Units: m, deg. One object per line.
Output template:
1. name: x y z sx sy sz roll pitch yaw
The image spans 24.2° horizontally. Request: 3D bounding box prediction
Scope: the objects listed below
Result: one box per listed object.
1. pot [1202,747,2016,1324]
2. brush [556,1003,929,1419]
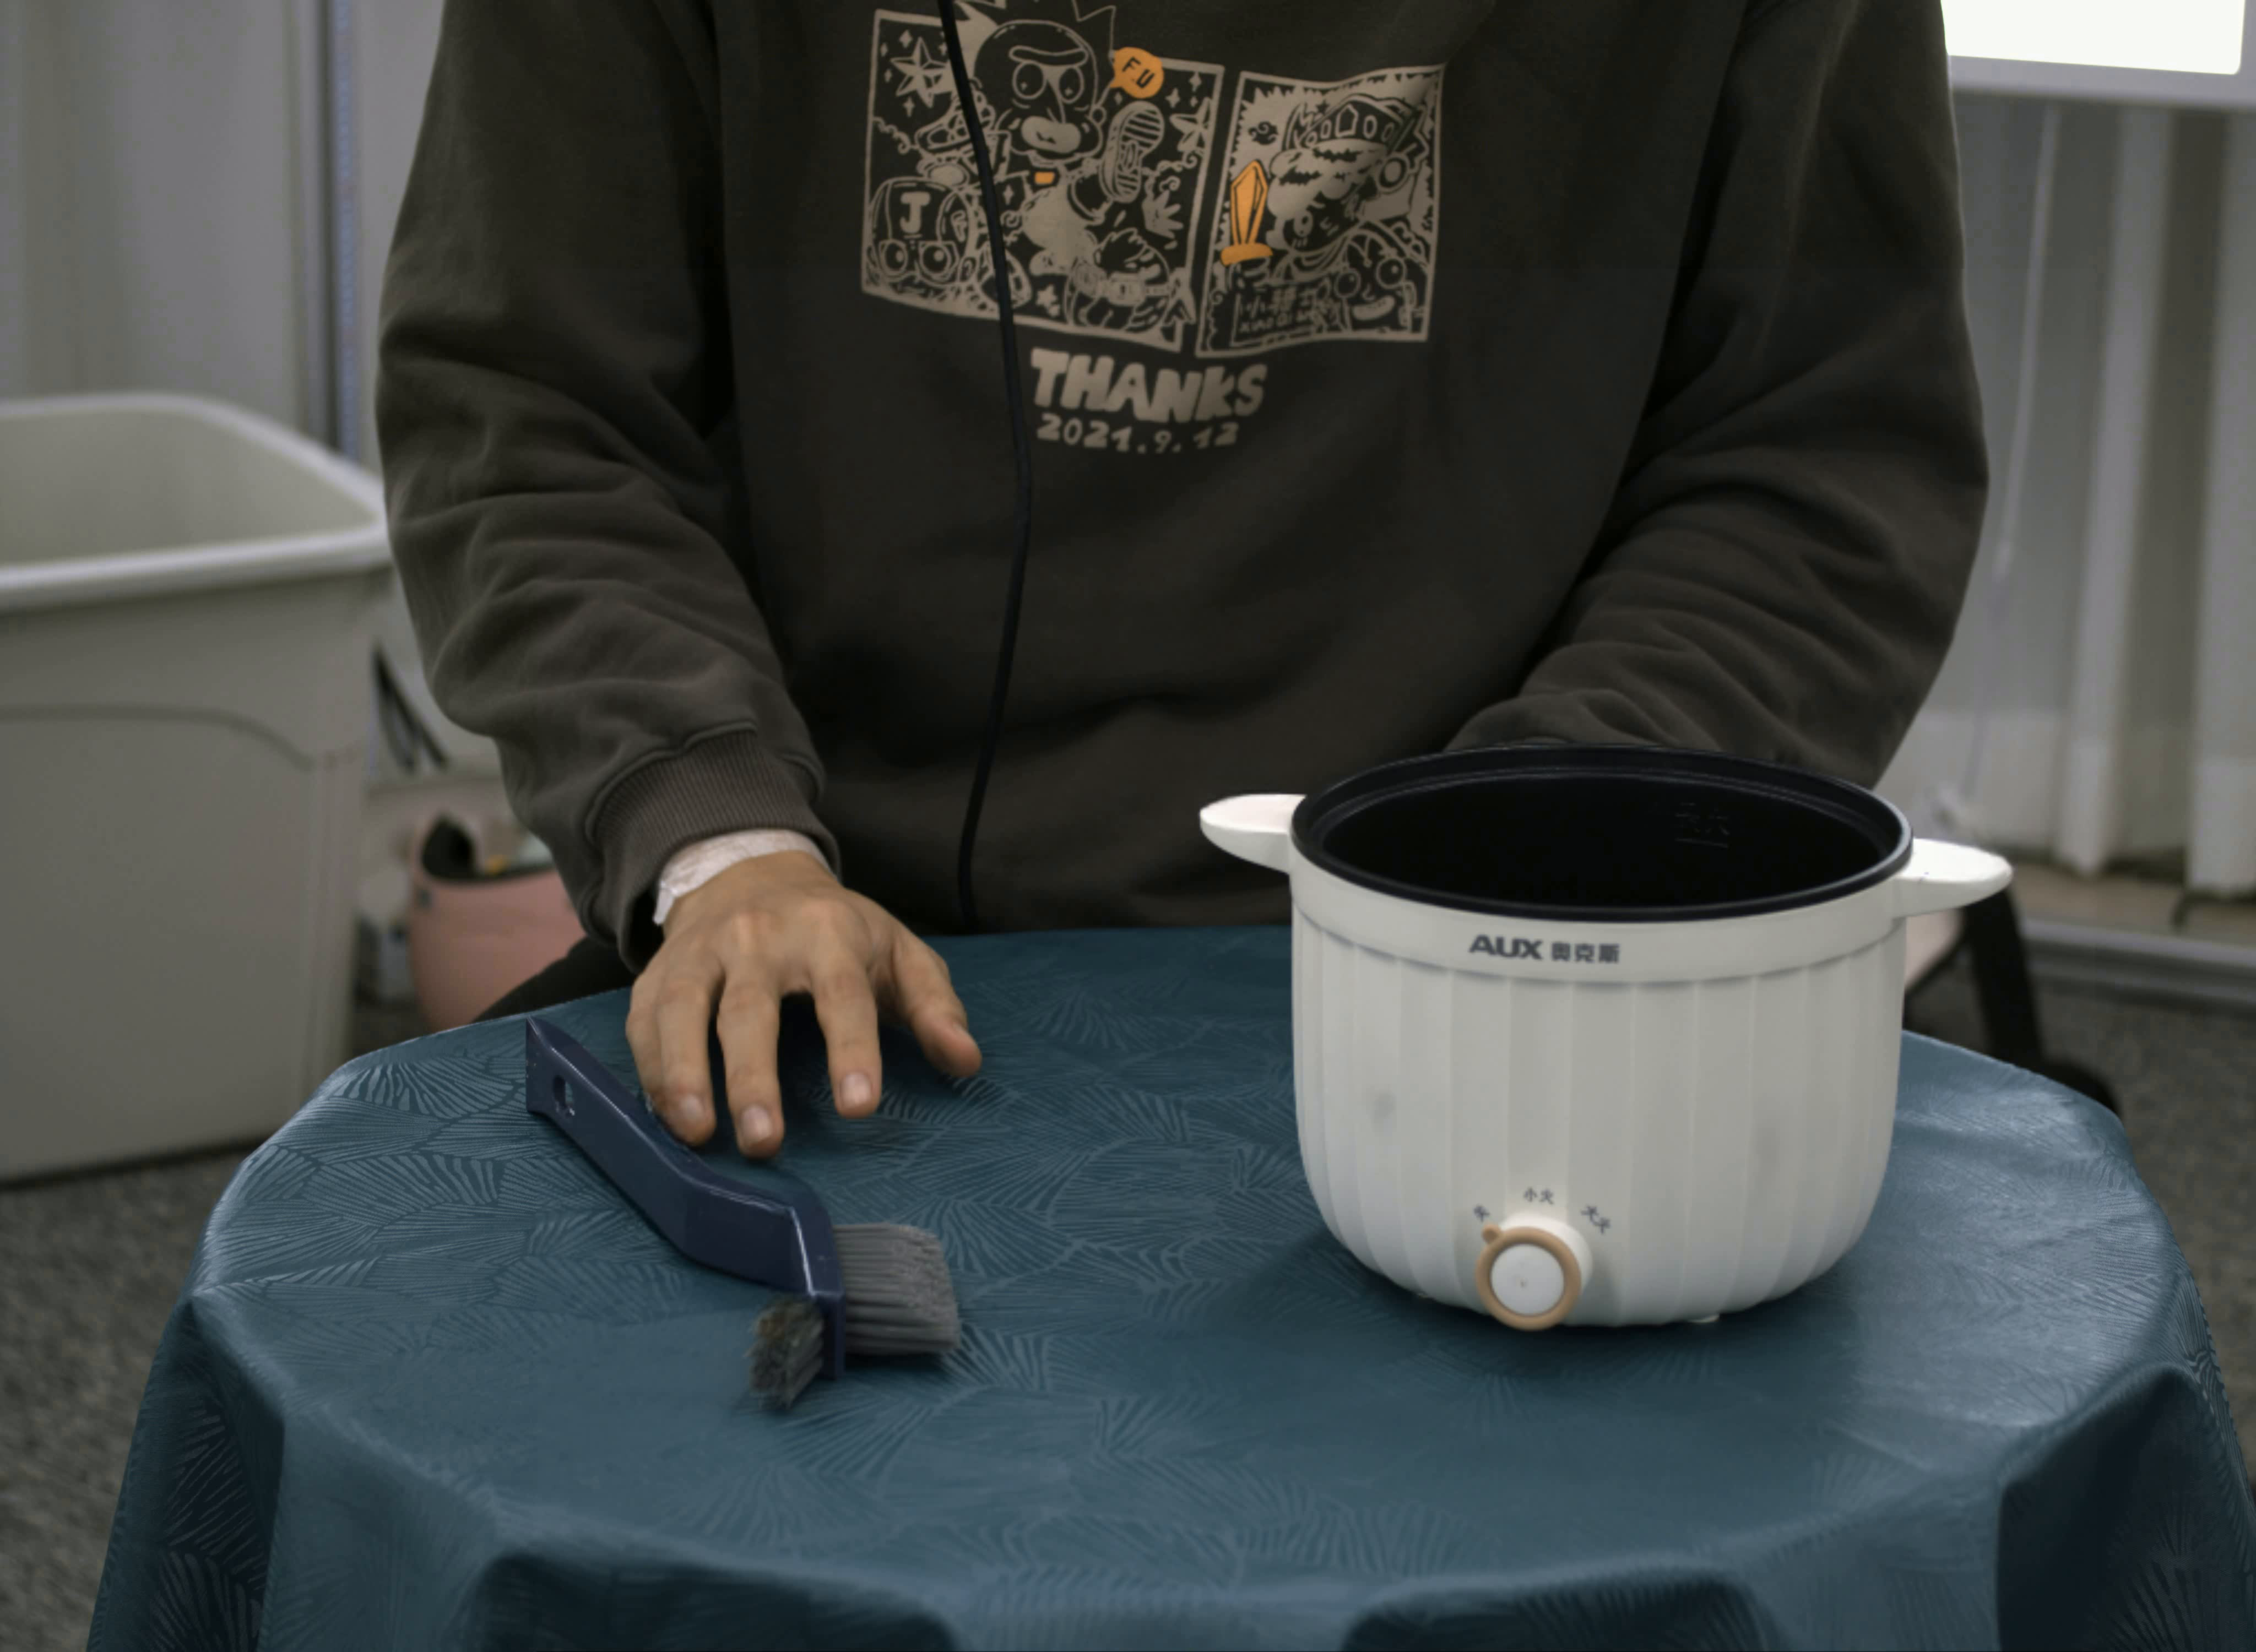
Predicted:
1. pot: 0.138 0.064 1.549 0.238 0.143 0.190 3 13 13
2. brush: -0.138 0.110 1.574 0.096 0.034 0.269 -9 20 -30
